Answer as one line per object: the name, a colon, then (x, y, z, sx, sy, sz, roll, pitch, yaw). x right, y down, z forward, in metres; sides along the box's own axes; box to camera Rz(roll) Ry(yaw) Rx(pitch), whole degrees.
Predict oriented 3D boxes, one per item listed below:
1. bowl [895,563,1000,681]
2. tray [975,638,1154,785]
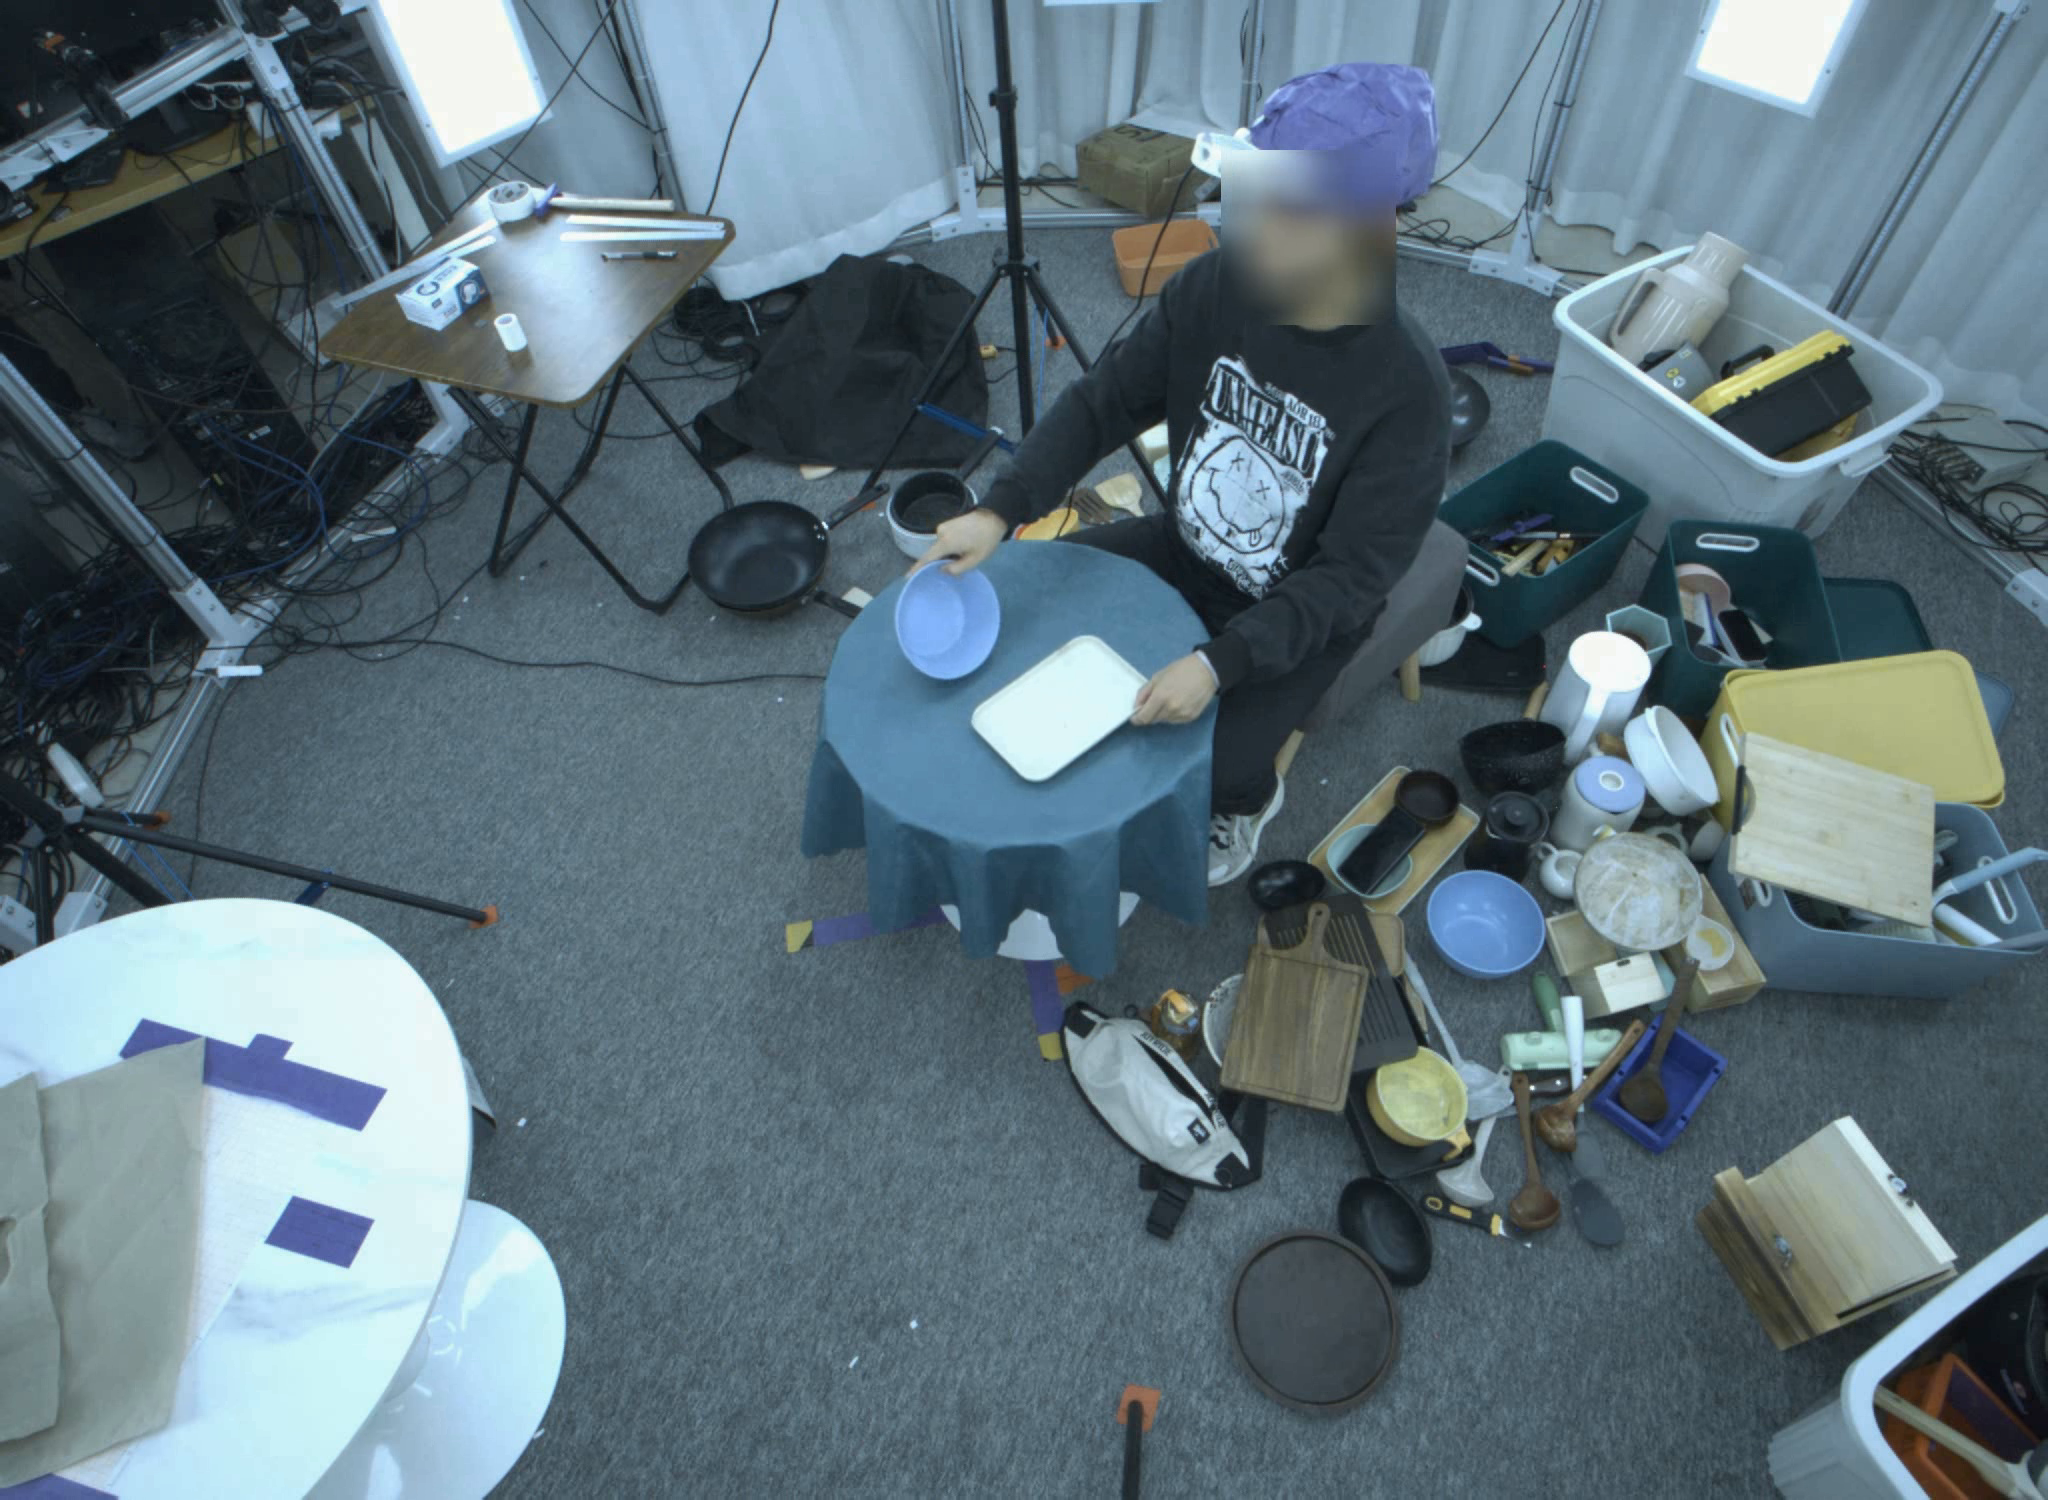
bowl: (-0.127, -0.194, 1.843, 0.177, 0.179, 0.068, -40, 30, -22)
tray: (0.059, -0.057, 1.812, 0.241, 0.018, 0.168, -36, 60, -16)
